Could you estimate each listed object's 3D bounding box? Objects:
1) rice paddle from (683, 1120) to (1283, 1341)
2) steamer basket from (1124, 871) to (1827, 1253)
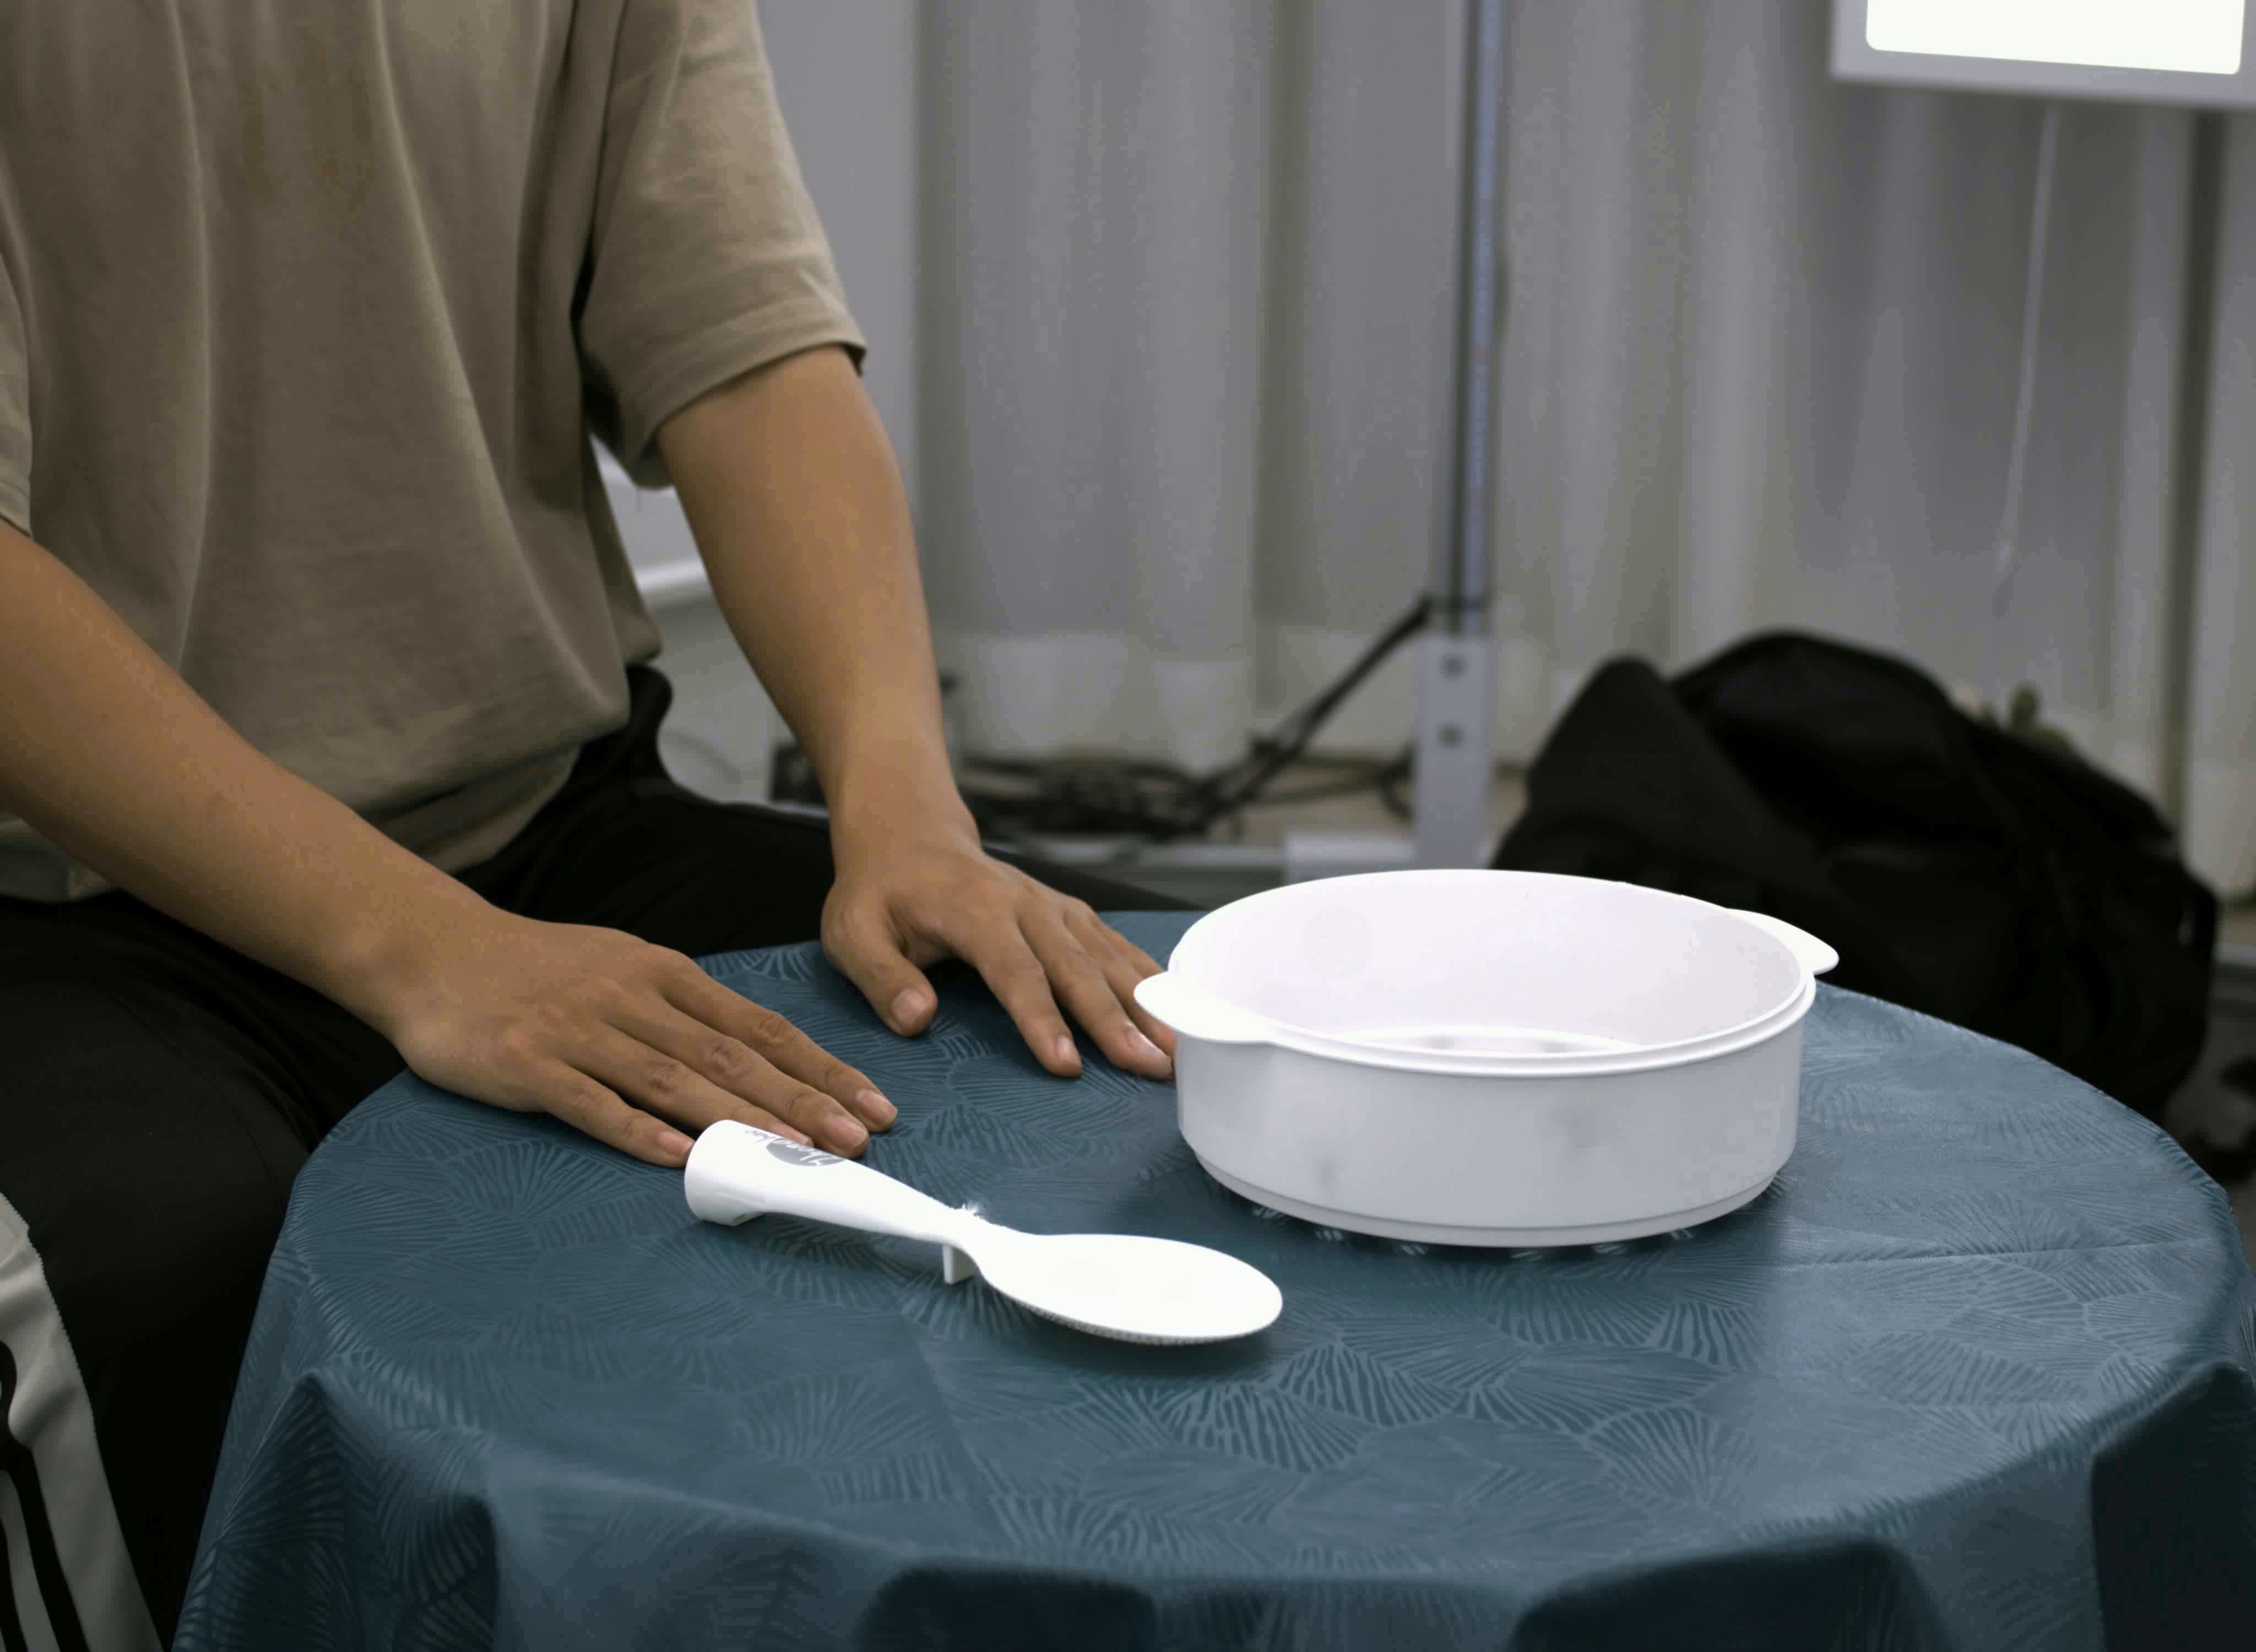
[{"bbox_3d":[-0.043,0.120,1.540,0.202,0.029,0.069,12,21,34],"label":"rice paddle"},{"bbox_3d":[0.108,0.074,1.647,0.231,0.070,0.199,-5,17,-24],"label":"steamer basket"}]
